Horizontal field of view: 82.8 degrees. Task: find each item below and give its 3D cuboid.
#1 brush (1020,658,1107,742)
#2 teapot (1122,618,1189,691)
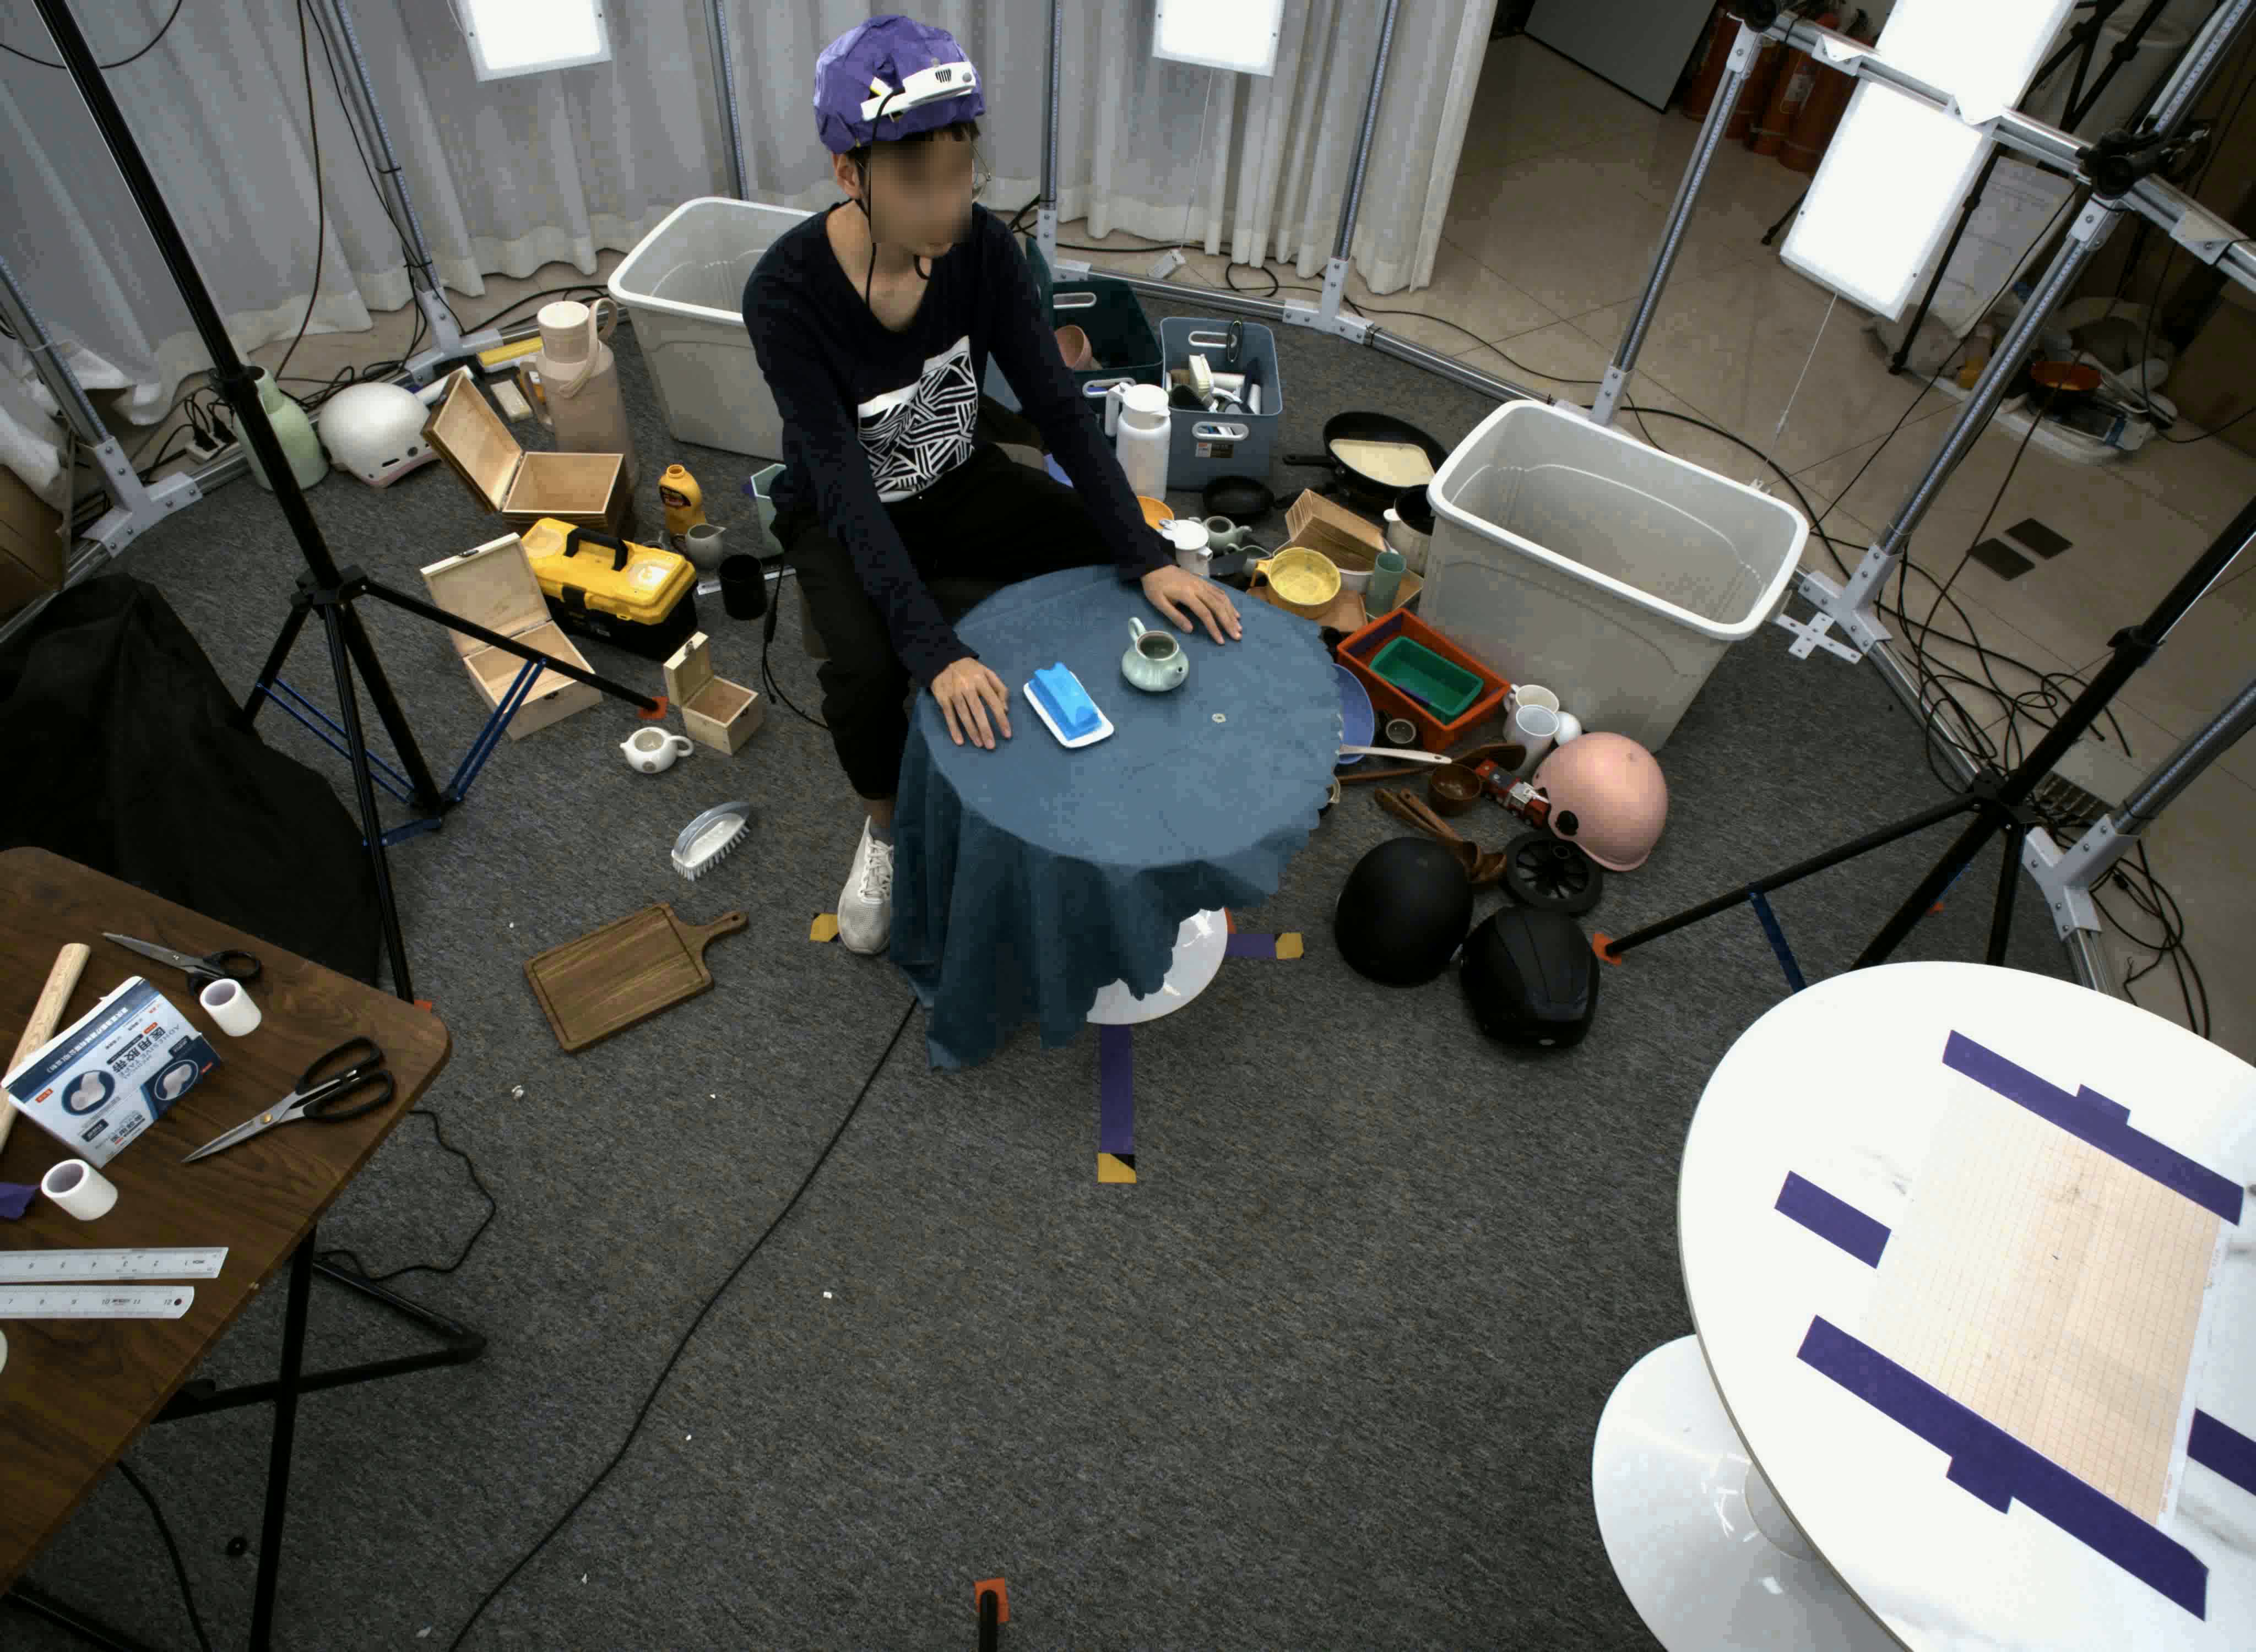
[{"bbox_3d":[-0.088,-0.182,1.780,0.084,0.054,0.147,-18,54,-22],"label":"brush"},{"bbox_3d":[0.037,-0.243,1.842,0.096,0.060,0.139,-26,56,-21],"label":"teapot"}]
